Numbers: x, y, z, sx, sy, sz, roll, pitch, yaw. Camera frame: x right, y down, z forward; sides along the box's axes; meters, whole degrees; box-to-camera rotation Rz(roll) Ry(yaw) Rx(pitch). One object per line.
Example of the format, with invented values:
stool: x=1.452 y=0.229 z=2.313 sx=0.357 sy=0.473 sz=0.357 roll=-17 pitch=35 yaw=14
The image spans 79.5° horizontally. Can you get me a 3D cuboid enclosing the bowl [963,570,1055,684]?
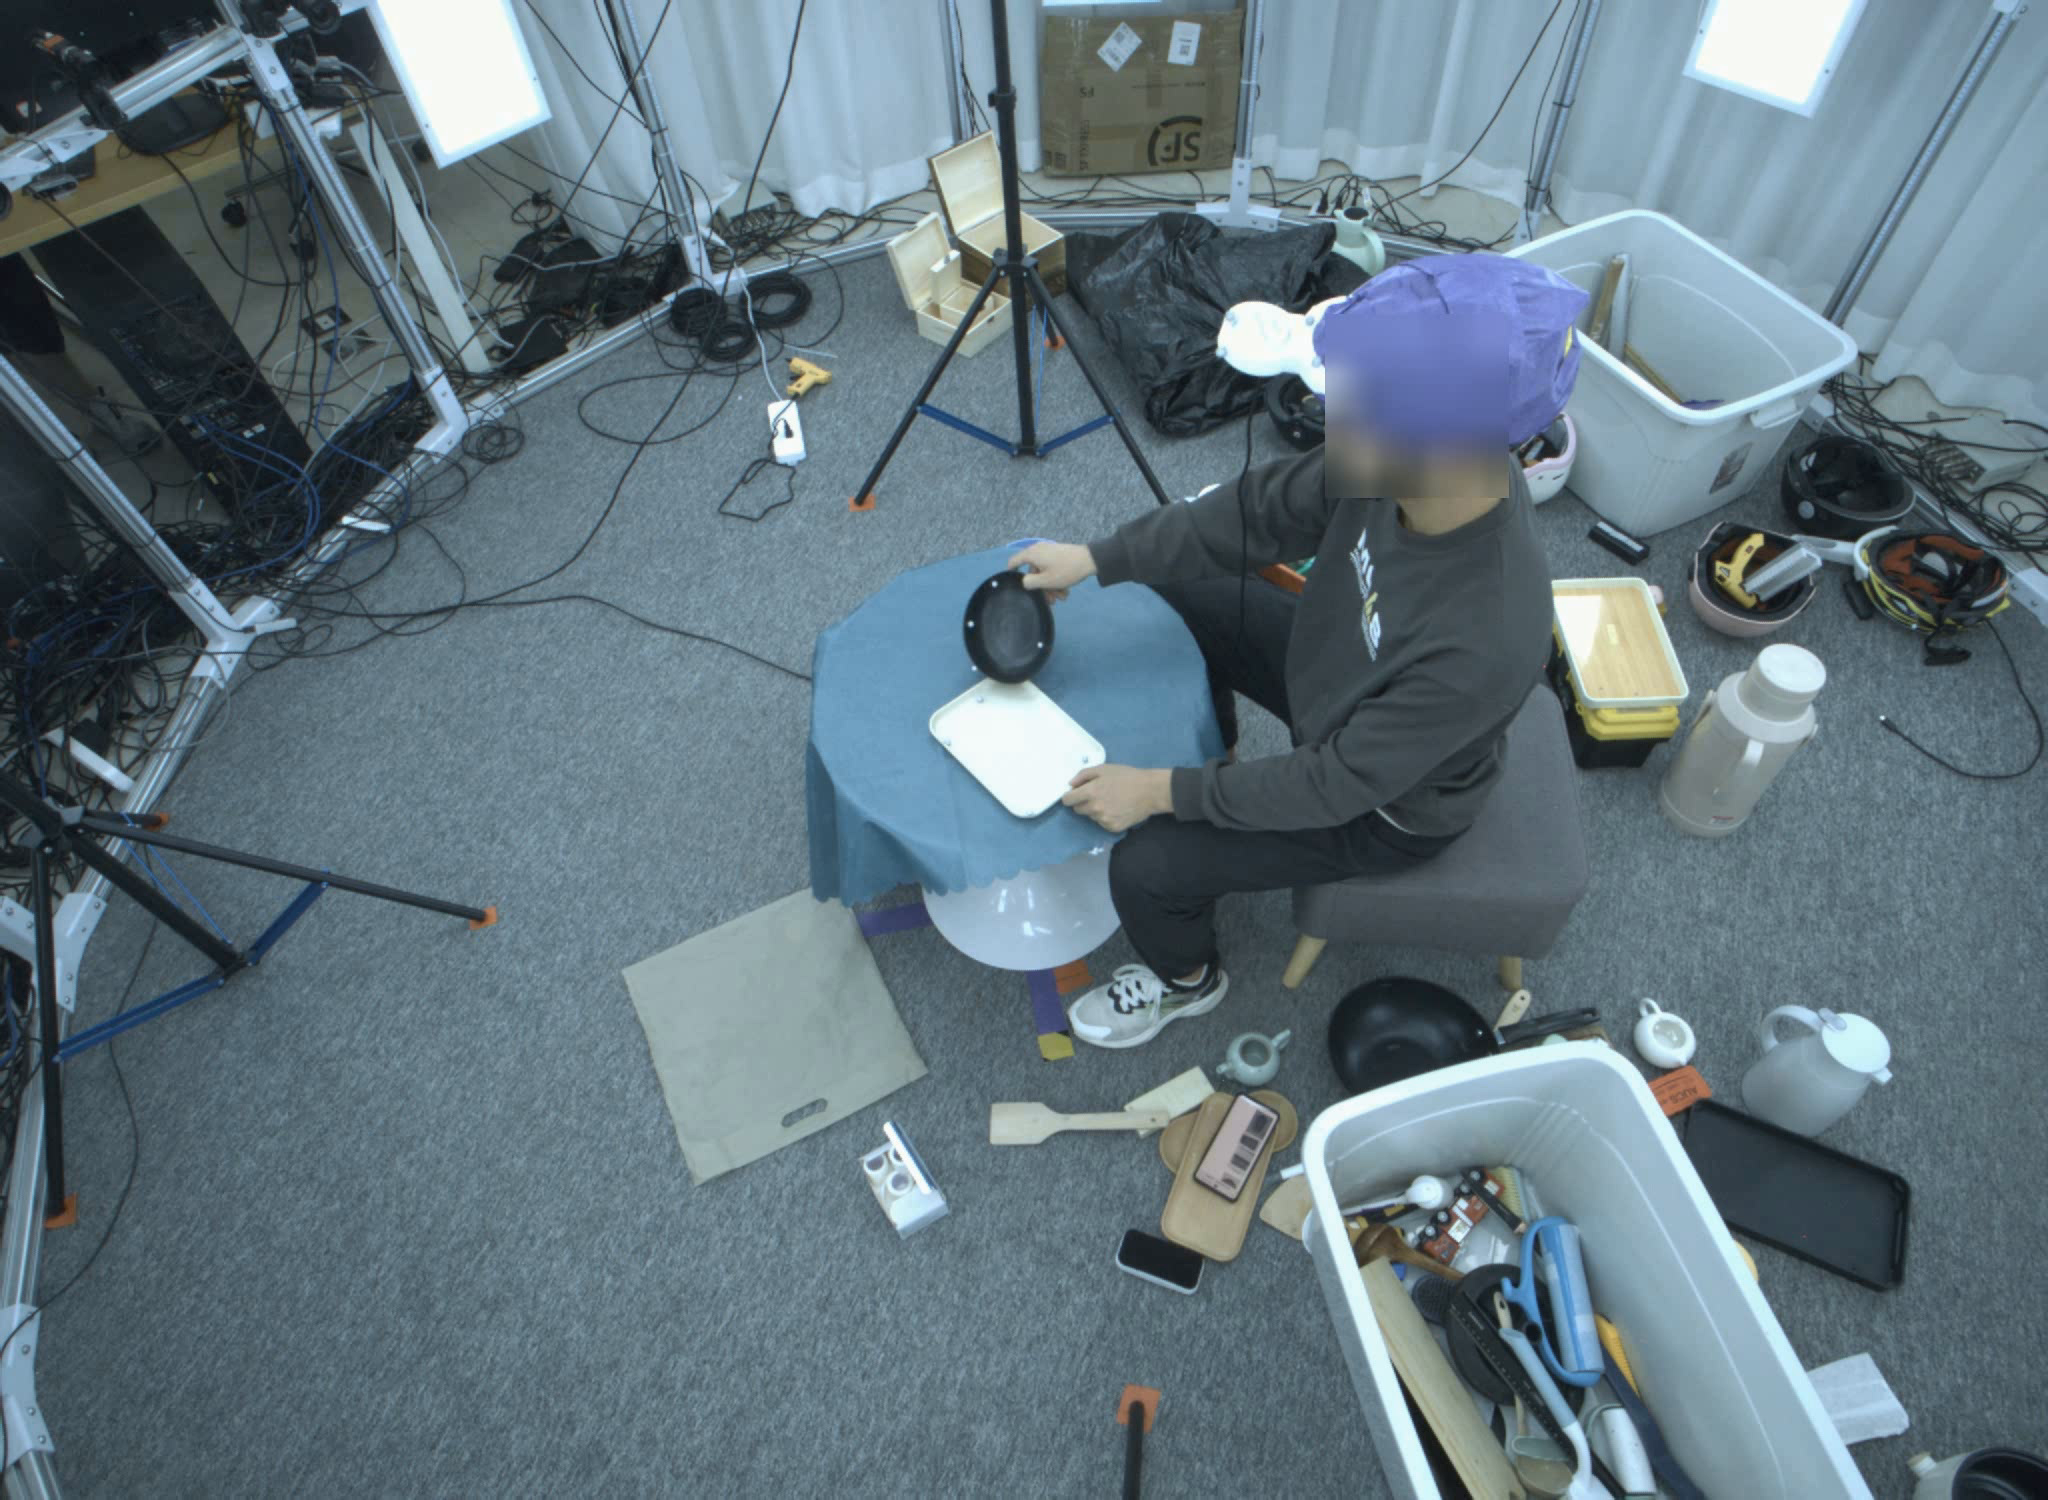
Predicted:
bowl: x=-0.019 y=-0.183 z=1.838 sx=0.137 sy=0.067 sz=0.170 roll=-3 pitch=91 yaw=6

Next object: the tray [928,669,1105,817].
tray: x=-0.012 y=-0.012 z=1.783 sx=0.172 sy=0.017 sz=0.235 roll=-35 pitch=61 yaw=-22
